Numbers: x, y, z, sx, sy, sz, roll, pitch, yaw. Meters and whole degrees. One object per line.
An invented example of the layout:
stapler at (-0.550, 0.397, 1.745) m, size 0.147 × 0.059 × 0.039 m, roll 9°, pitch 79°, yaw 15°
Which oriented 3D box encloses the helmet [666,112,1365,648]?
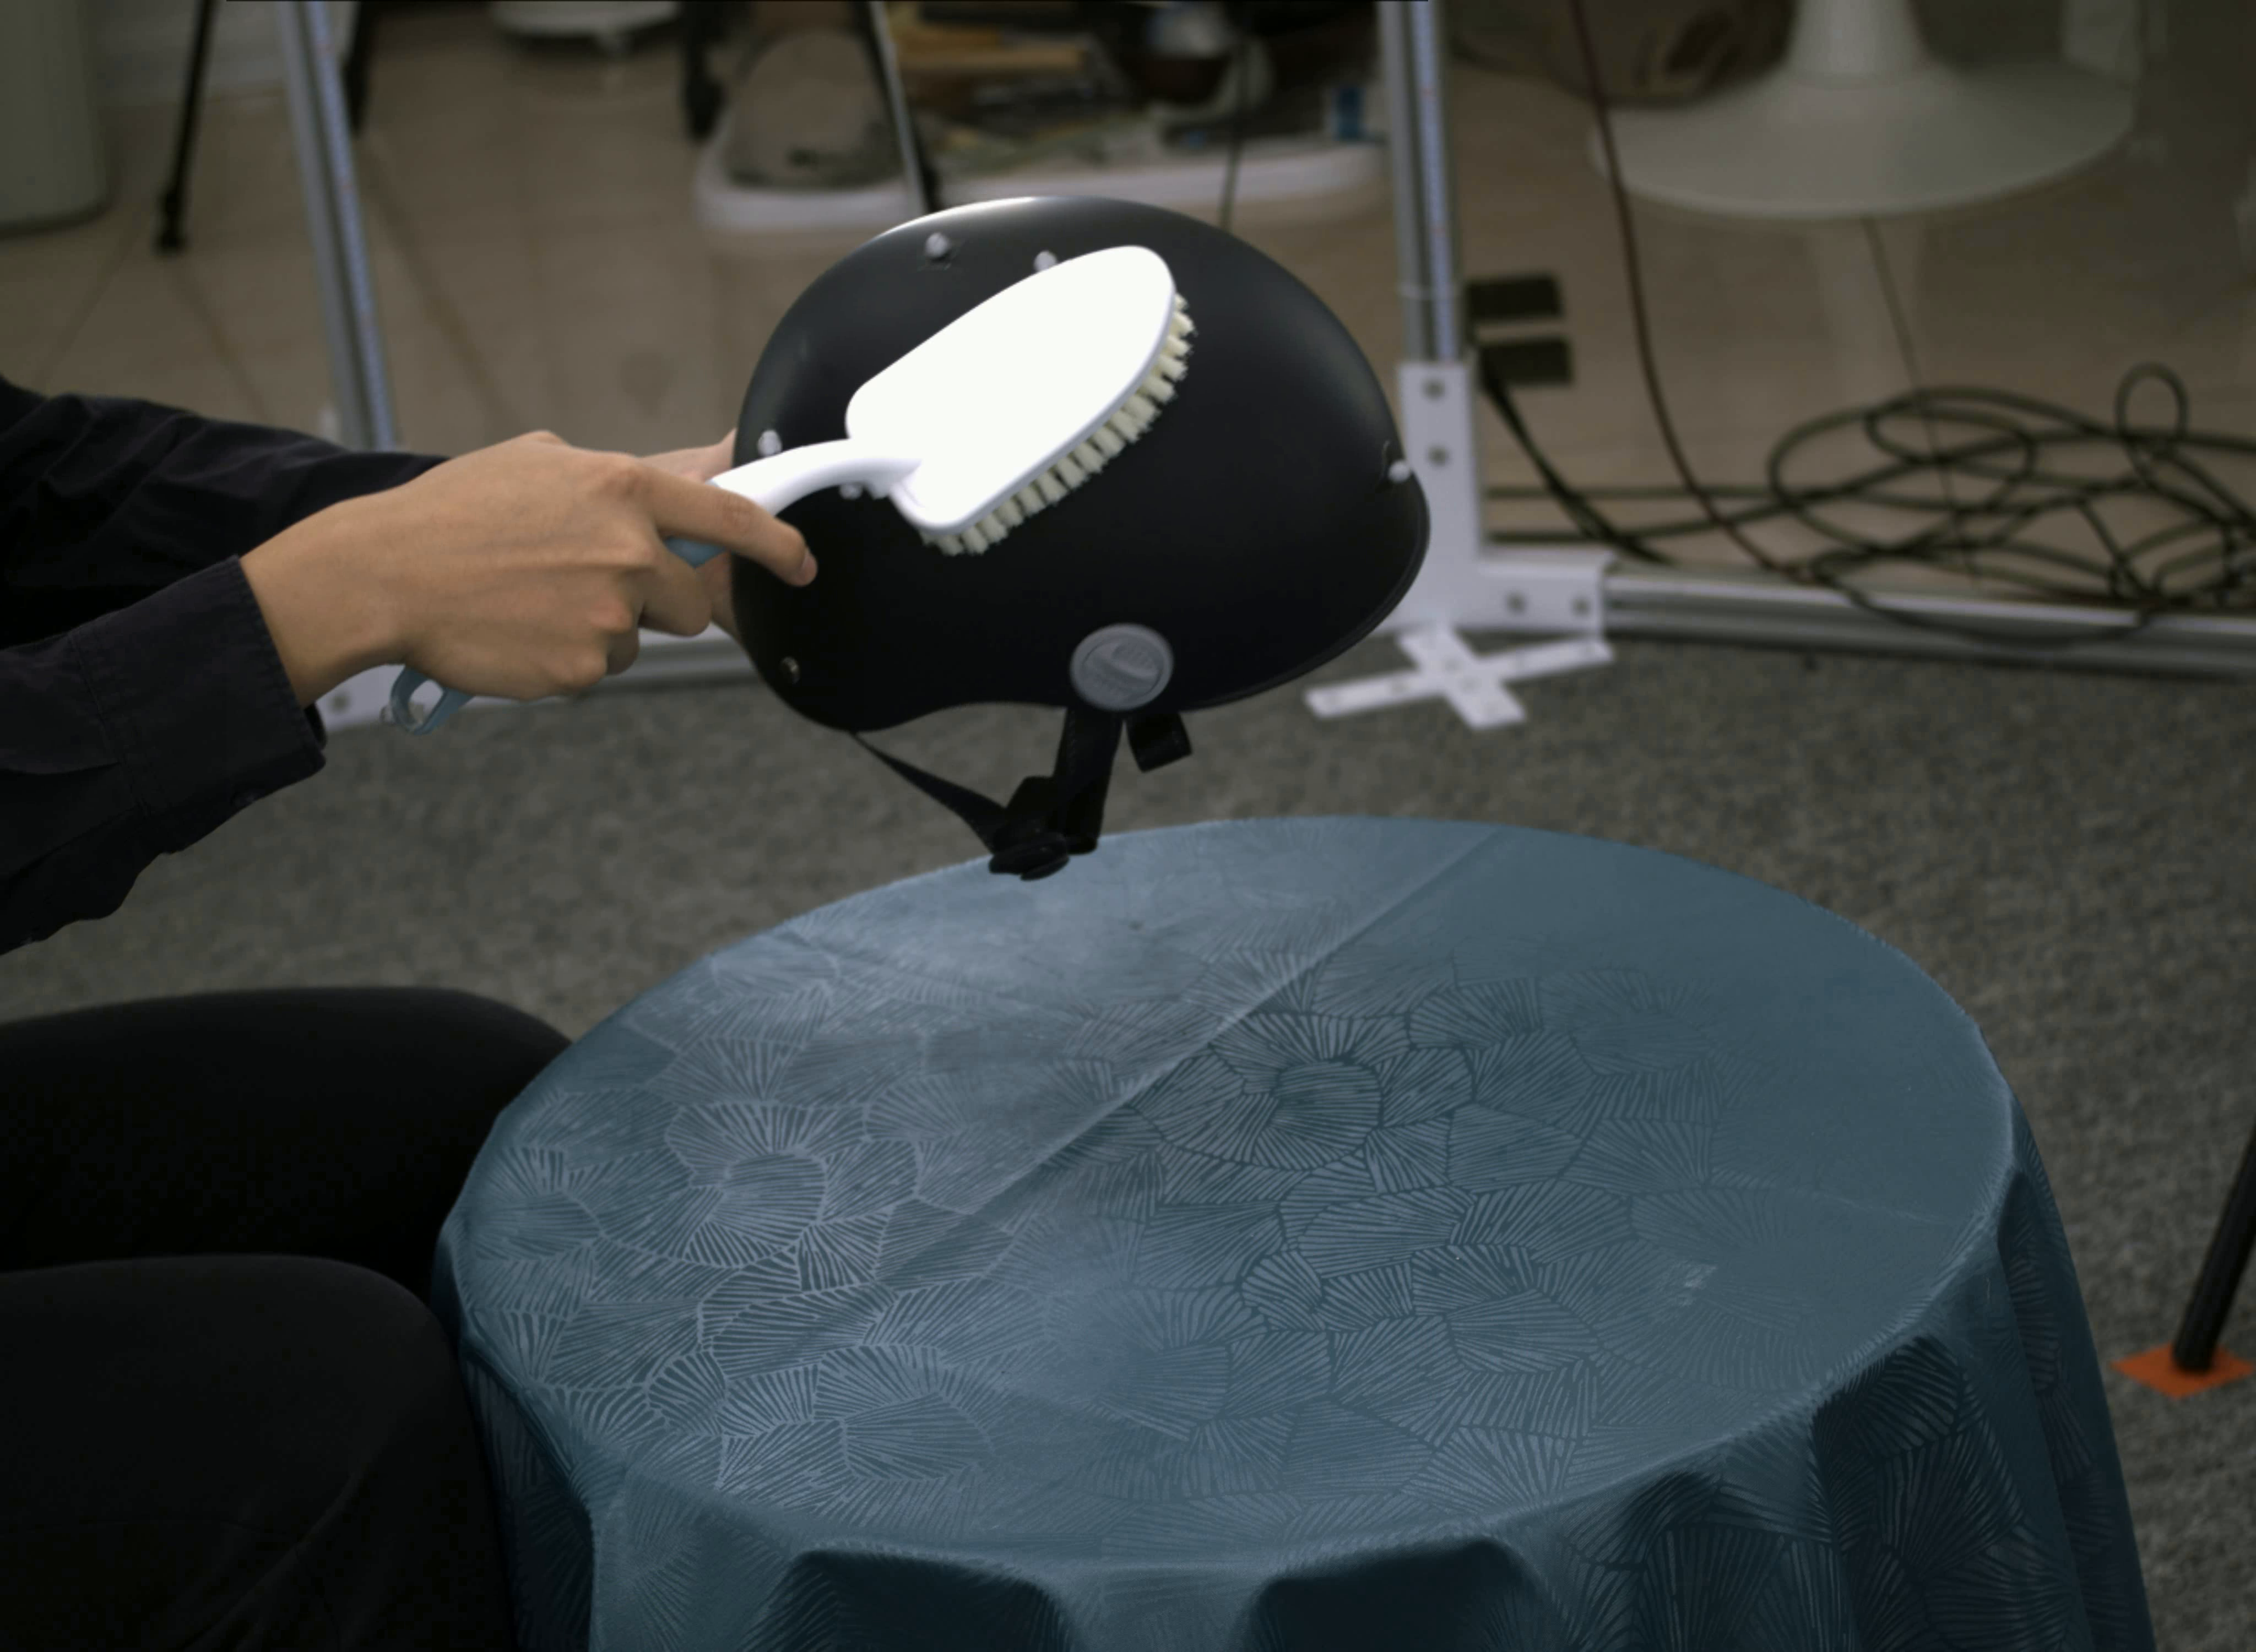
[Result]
helmet at (-0.057, -0.184, 2.162) m, size 0.273 × 0.170 × 0.226 m, roll -4°, pitch 41°, yaw 17°

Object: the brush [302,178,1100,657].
brush at (-0.152, -0.138, 2.033) m, size 0.324 × 0.086 × 0.082 m, roll -31°, pitch 34°, yaw -12°
